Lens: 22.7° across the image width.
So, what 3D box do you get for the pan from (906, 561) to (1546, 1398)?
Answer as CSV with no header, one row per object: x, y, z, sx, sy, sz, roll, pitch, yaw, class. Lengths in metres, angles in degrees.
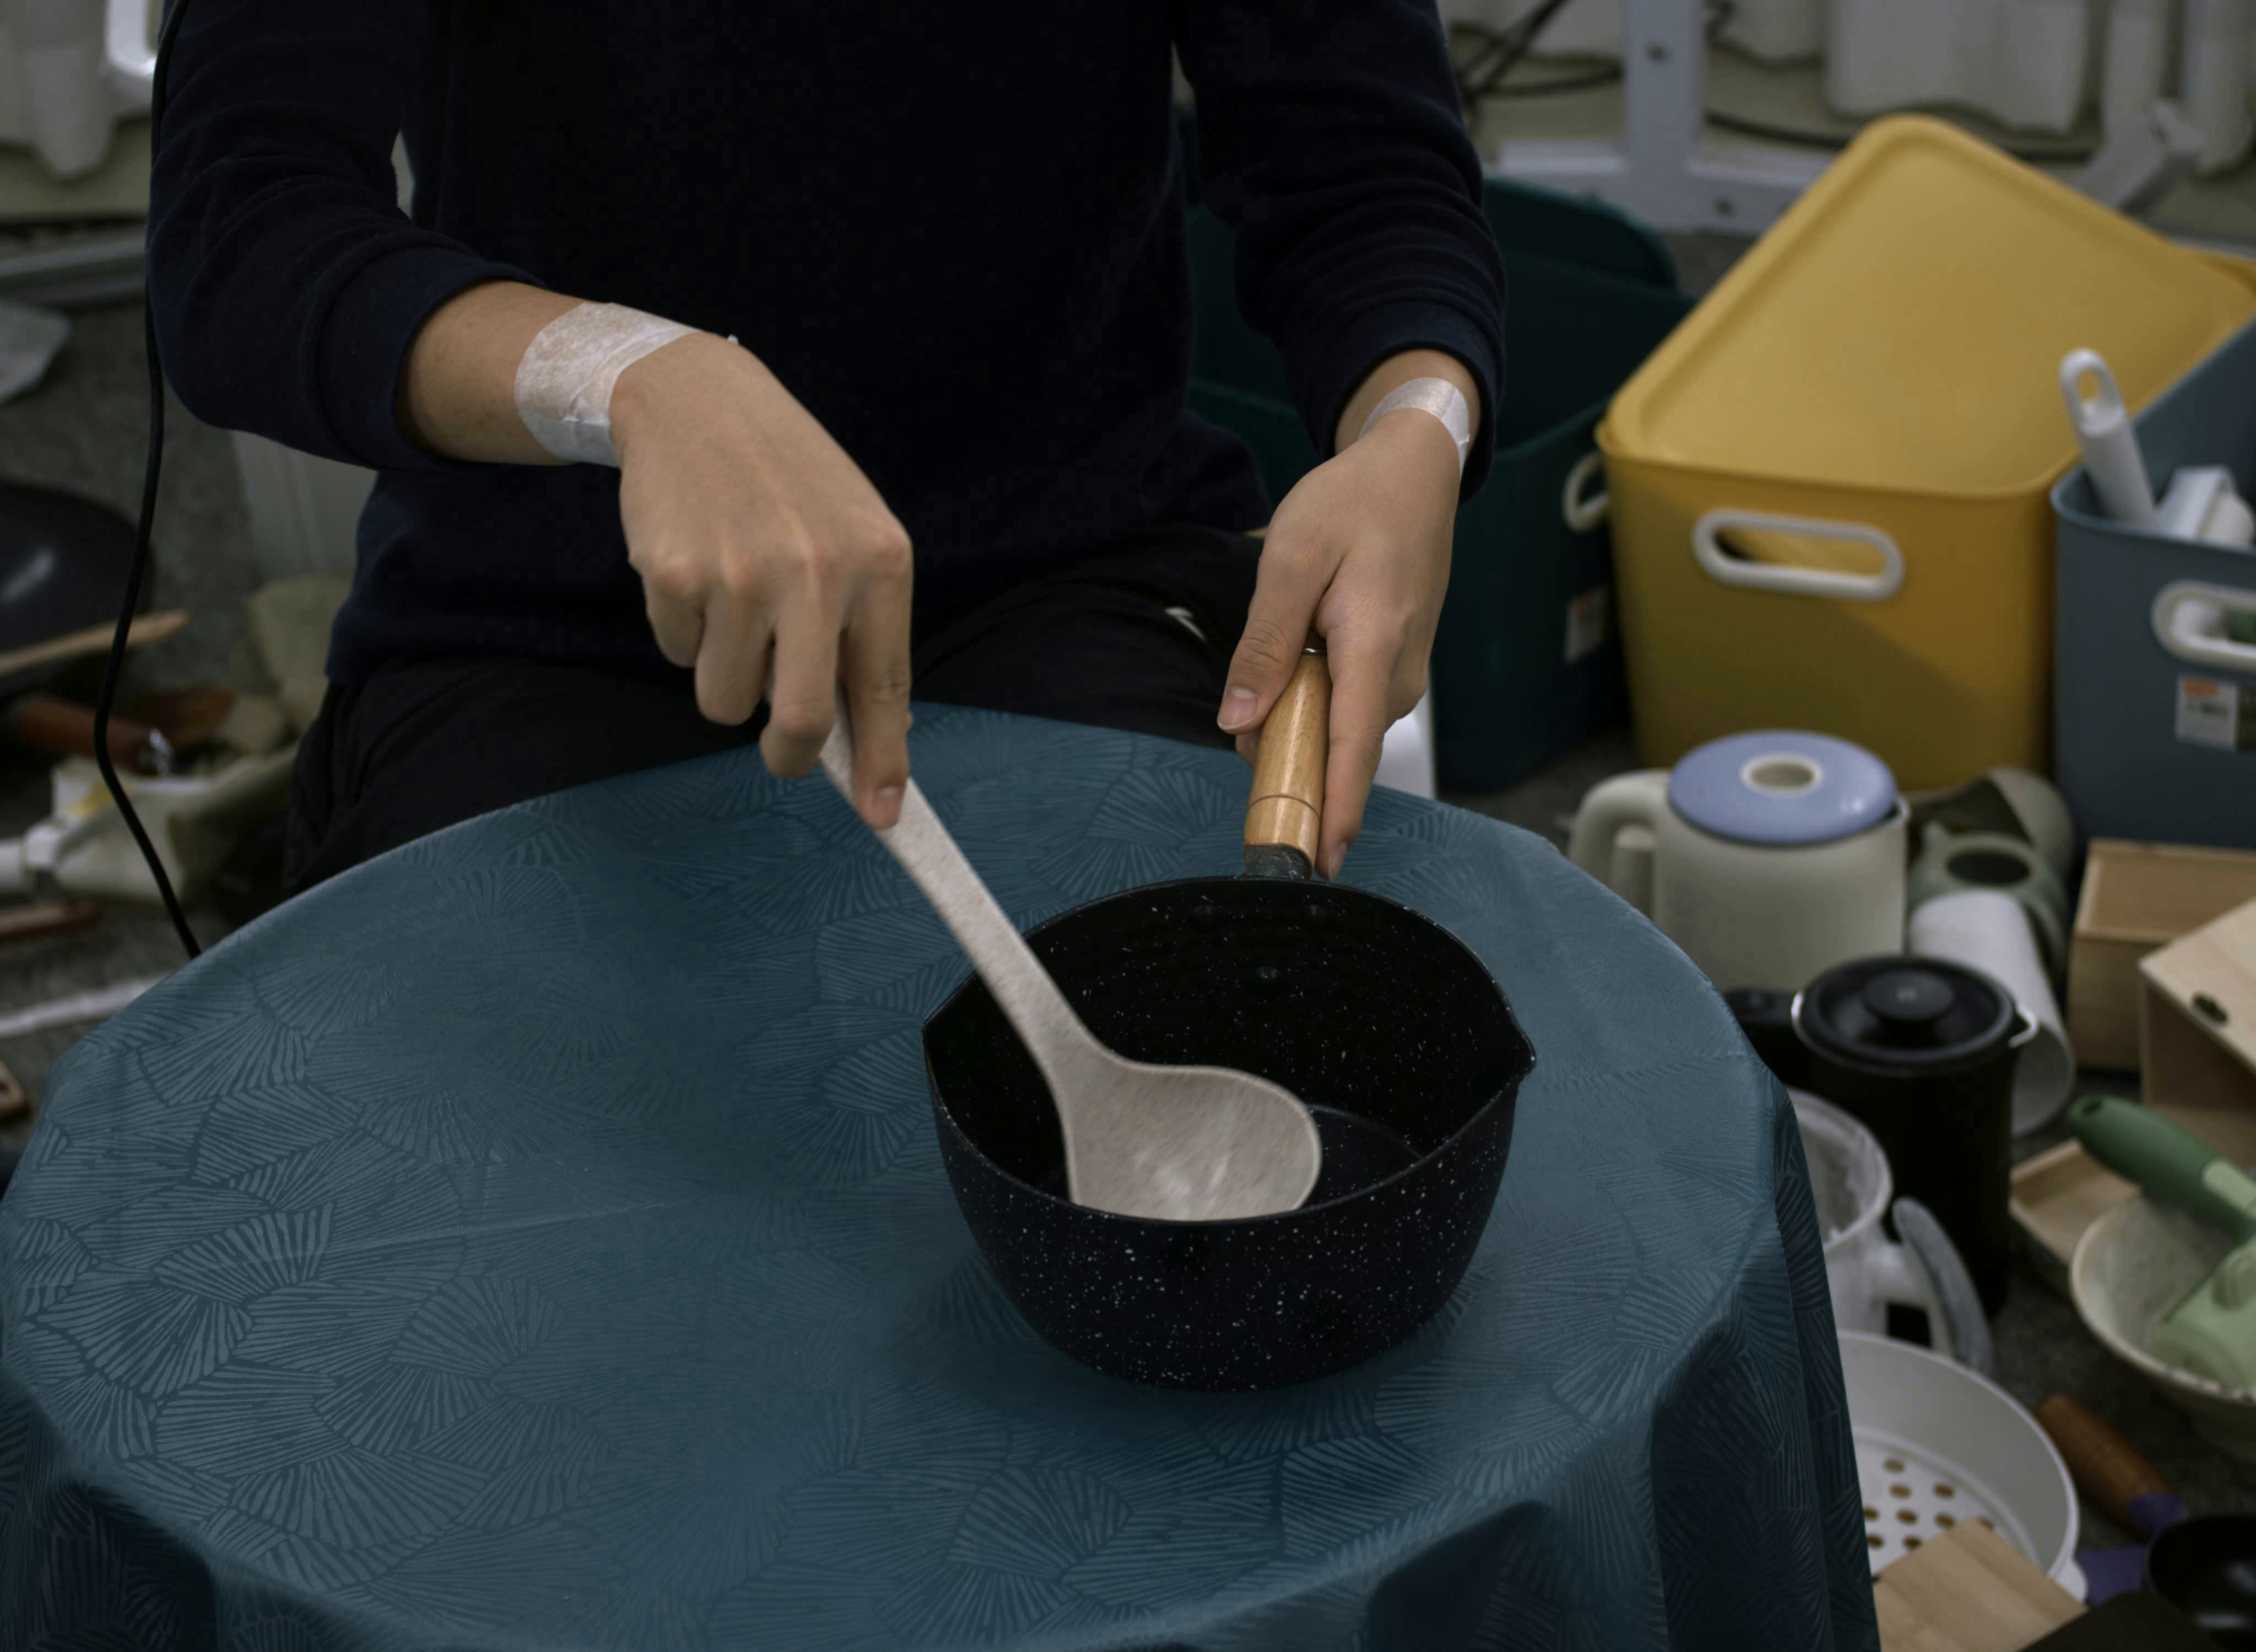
0.042,0.048,1.852,0.206,0.107,0.349,0,35,9,pan

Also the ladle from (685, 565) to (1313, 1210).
-0.043,0.024,1.778,0.091,0.274,0.068,-41,12,-34,ladle
